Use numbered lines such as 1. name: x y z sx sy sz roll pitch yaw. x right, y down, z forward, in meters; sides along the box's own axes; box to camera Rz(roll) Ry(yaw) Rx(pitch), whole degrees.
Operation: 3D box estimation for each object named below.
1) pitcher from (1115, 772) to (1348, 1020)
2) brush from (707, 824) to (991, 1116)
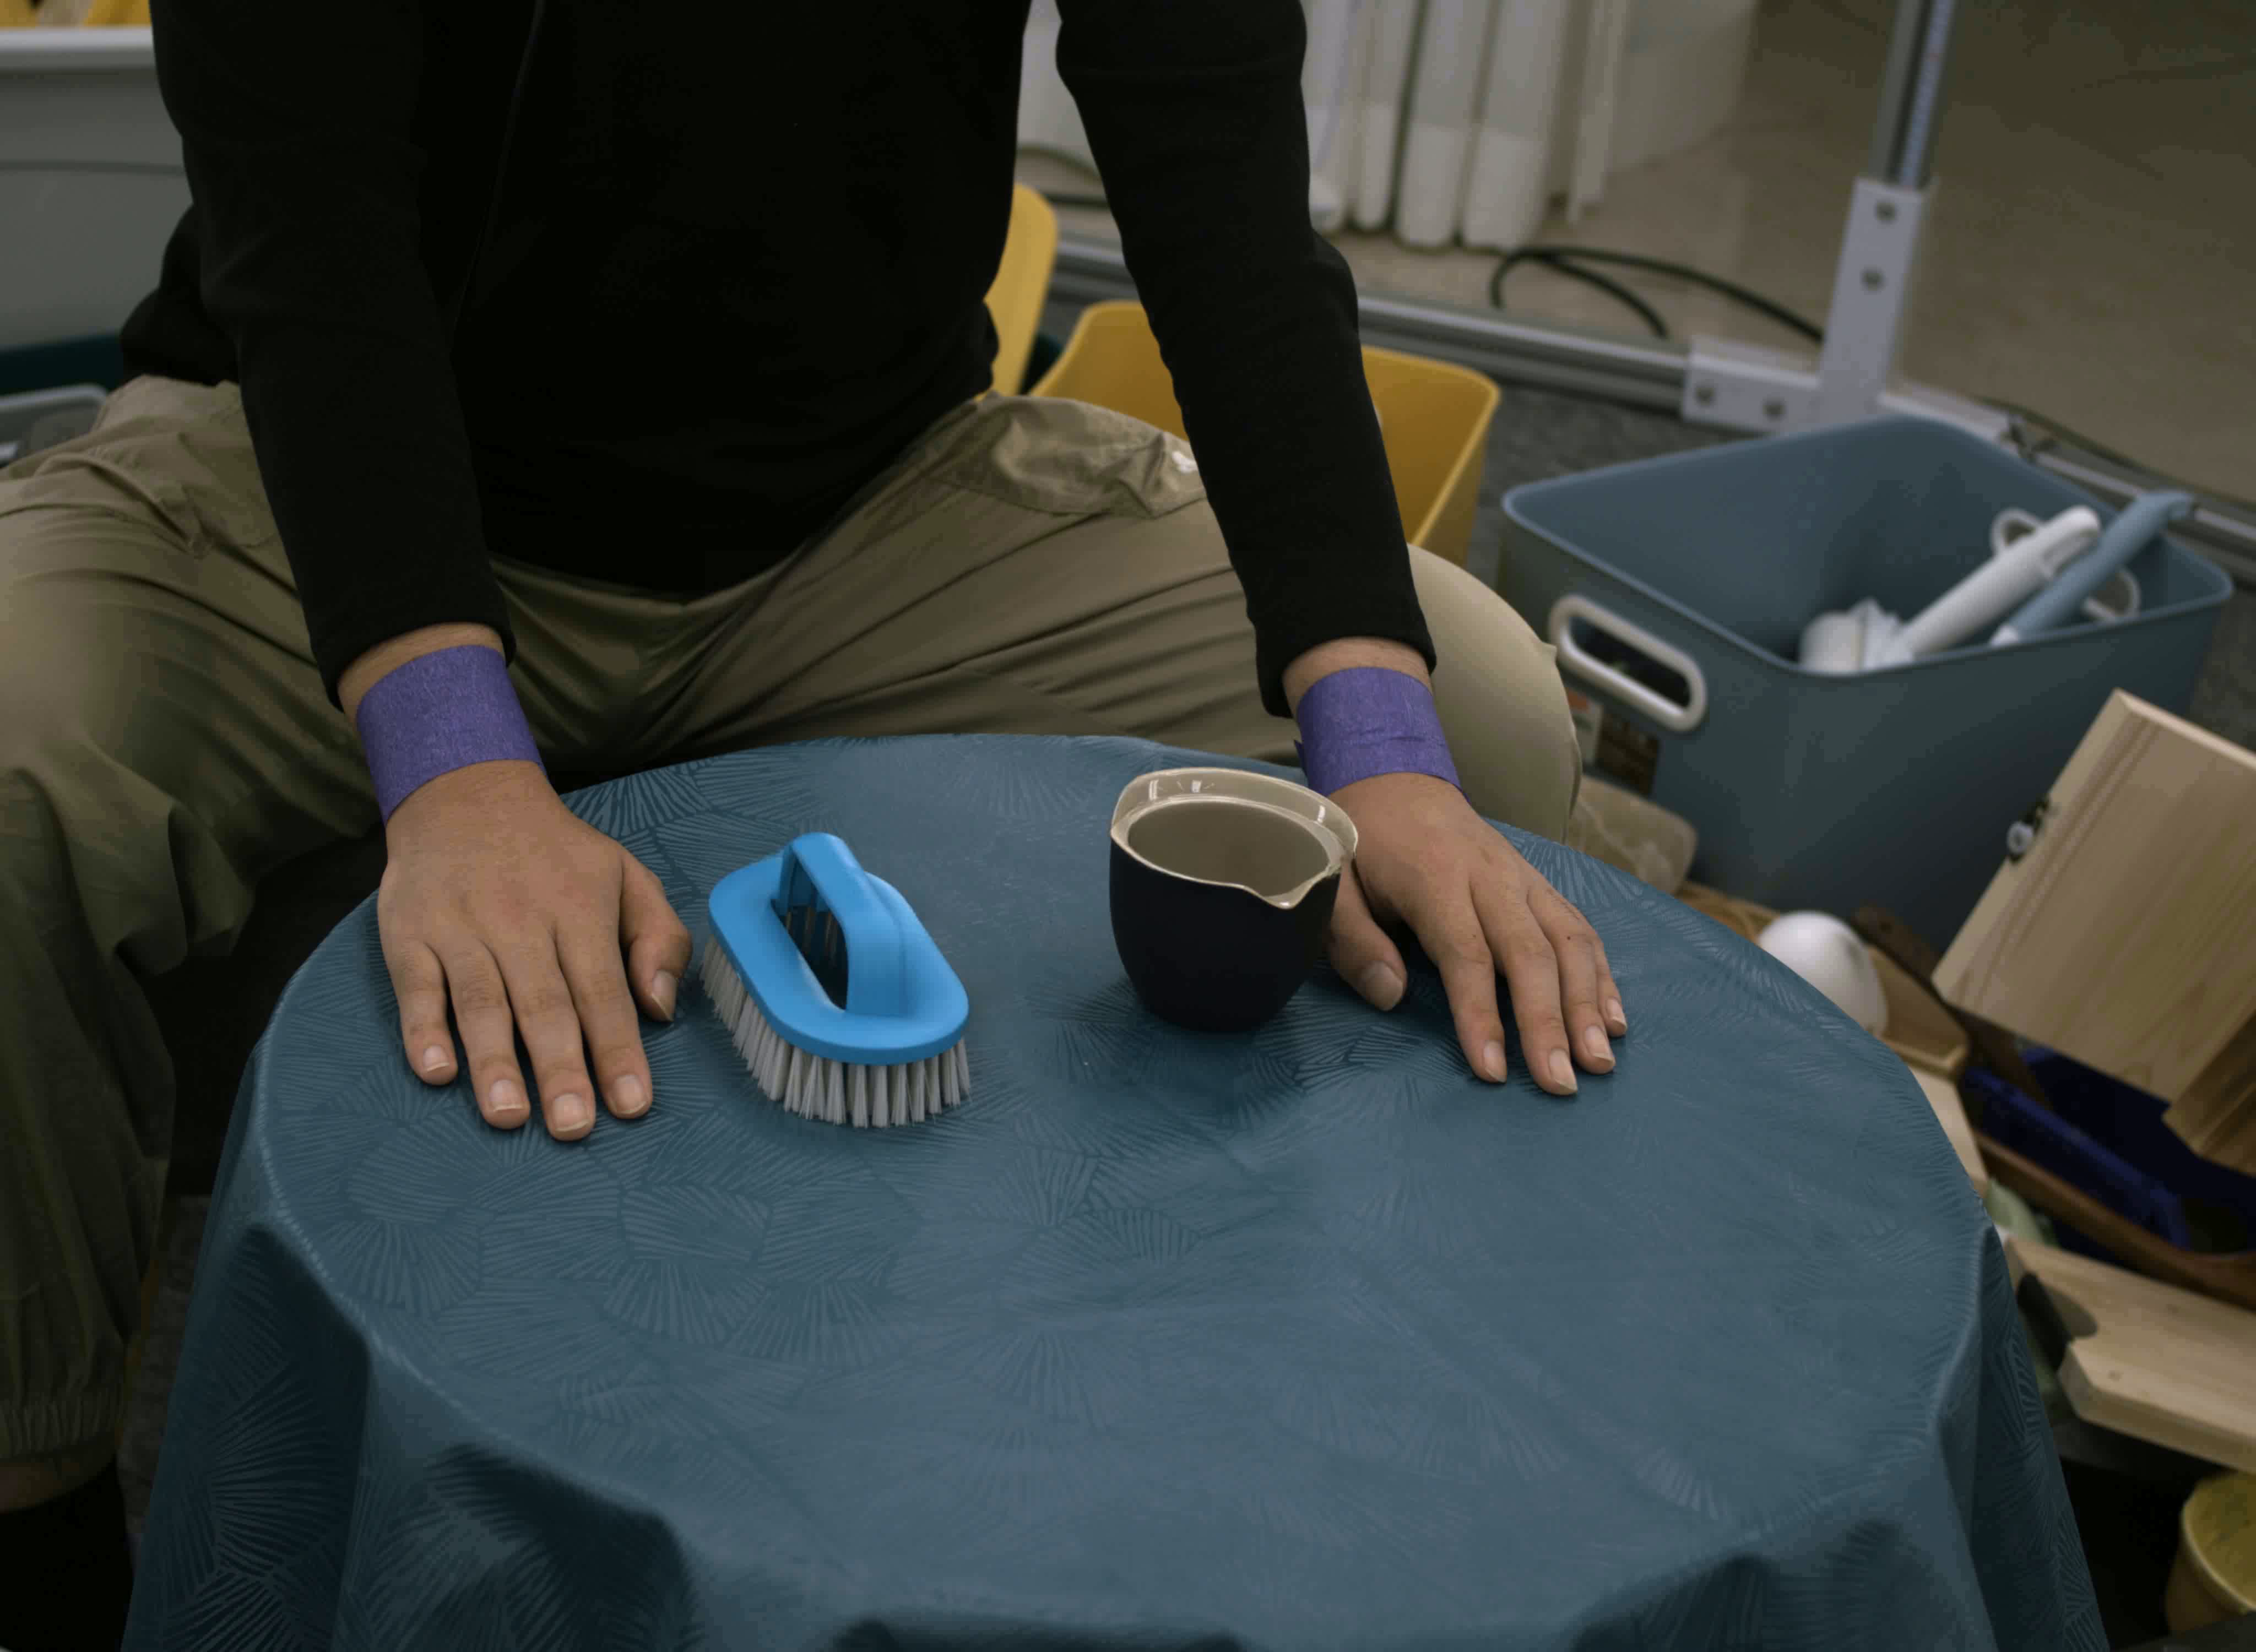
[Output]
1. pitcher: 0.036 0.030 1.911 0.083 0.071 0.097 0 29 -16
2. brush: -0.100 0.042 1.867 0.084 0.063 0.143 -8 29 -18
